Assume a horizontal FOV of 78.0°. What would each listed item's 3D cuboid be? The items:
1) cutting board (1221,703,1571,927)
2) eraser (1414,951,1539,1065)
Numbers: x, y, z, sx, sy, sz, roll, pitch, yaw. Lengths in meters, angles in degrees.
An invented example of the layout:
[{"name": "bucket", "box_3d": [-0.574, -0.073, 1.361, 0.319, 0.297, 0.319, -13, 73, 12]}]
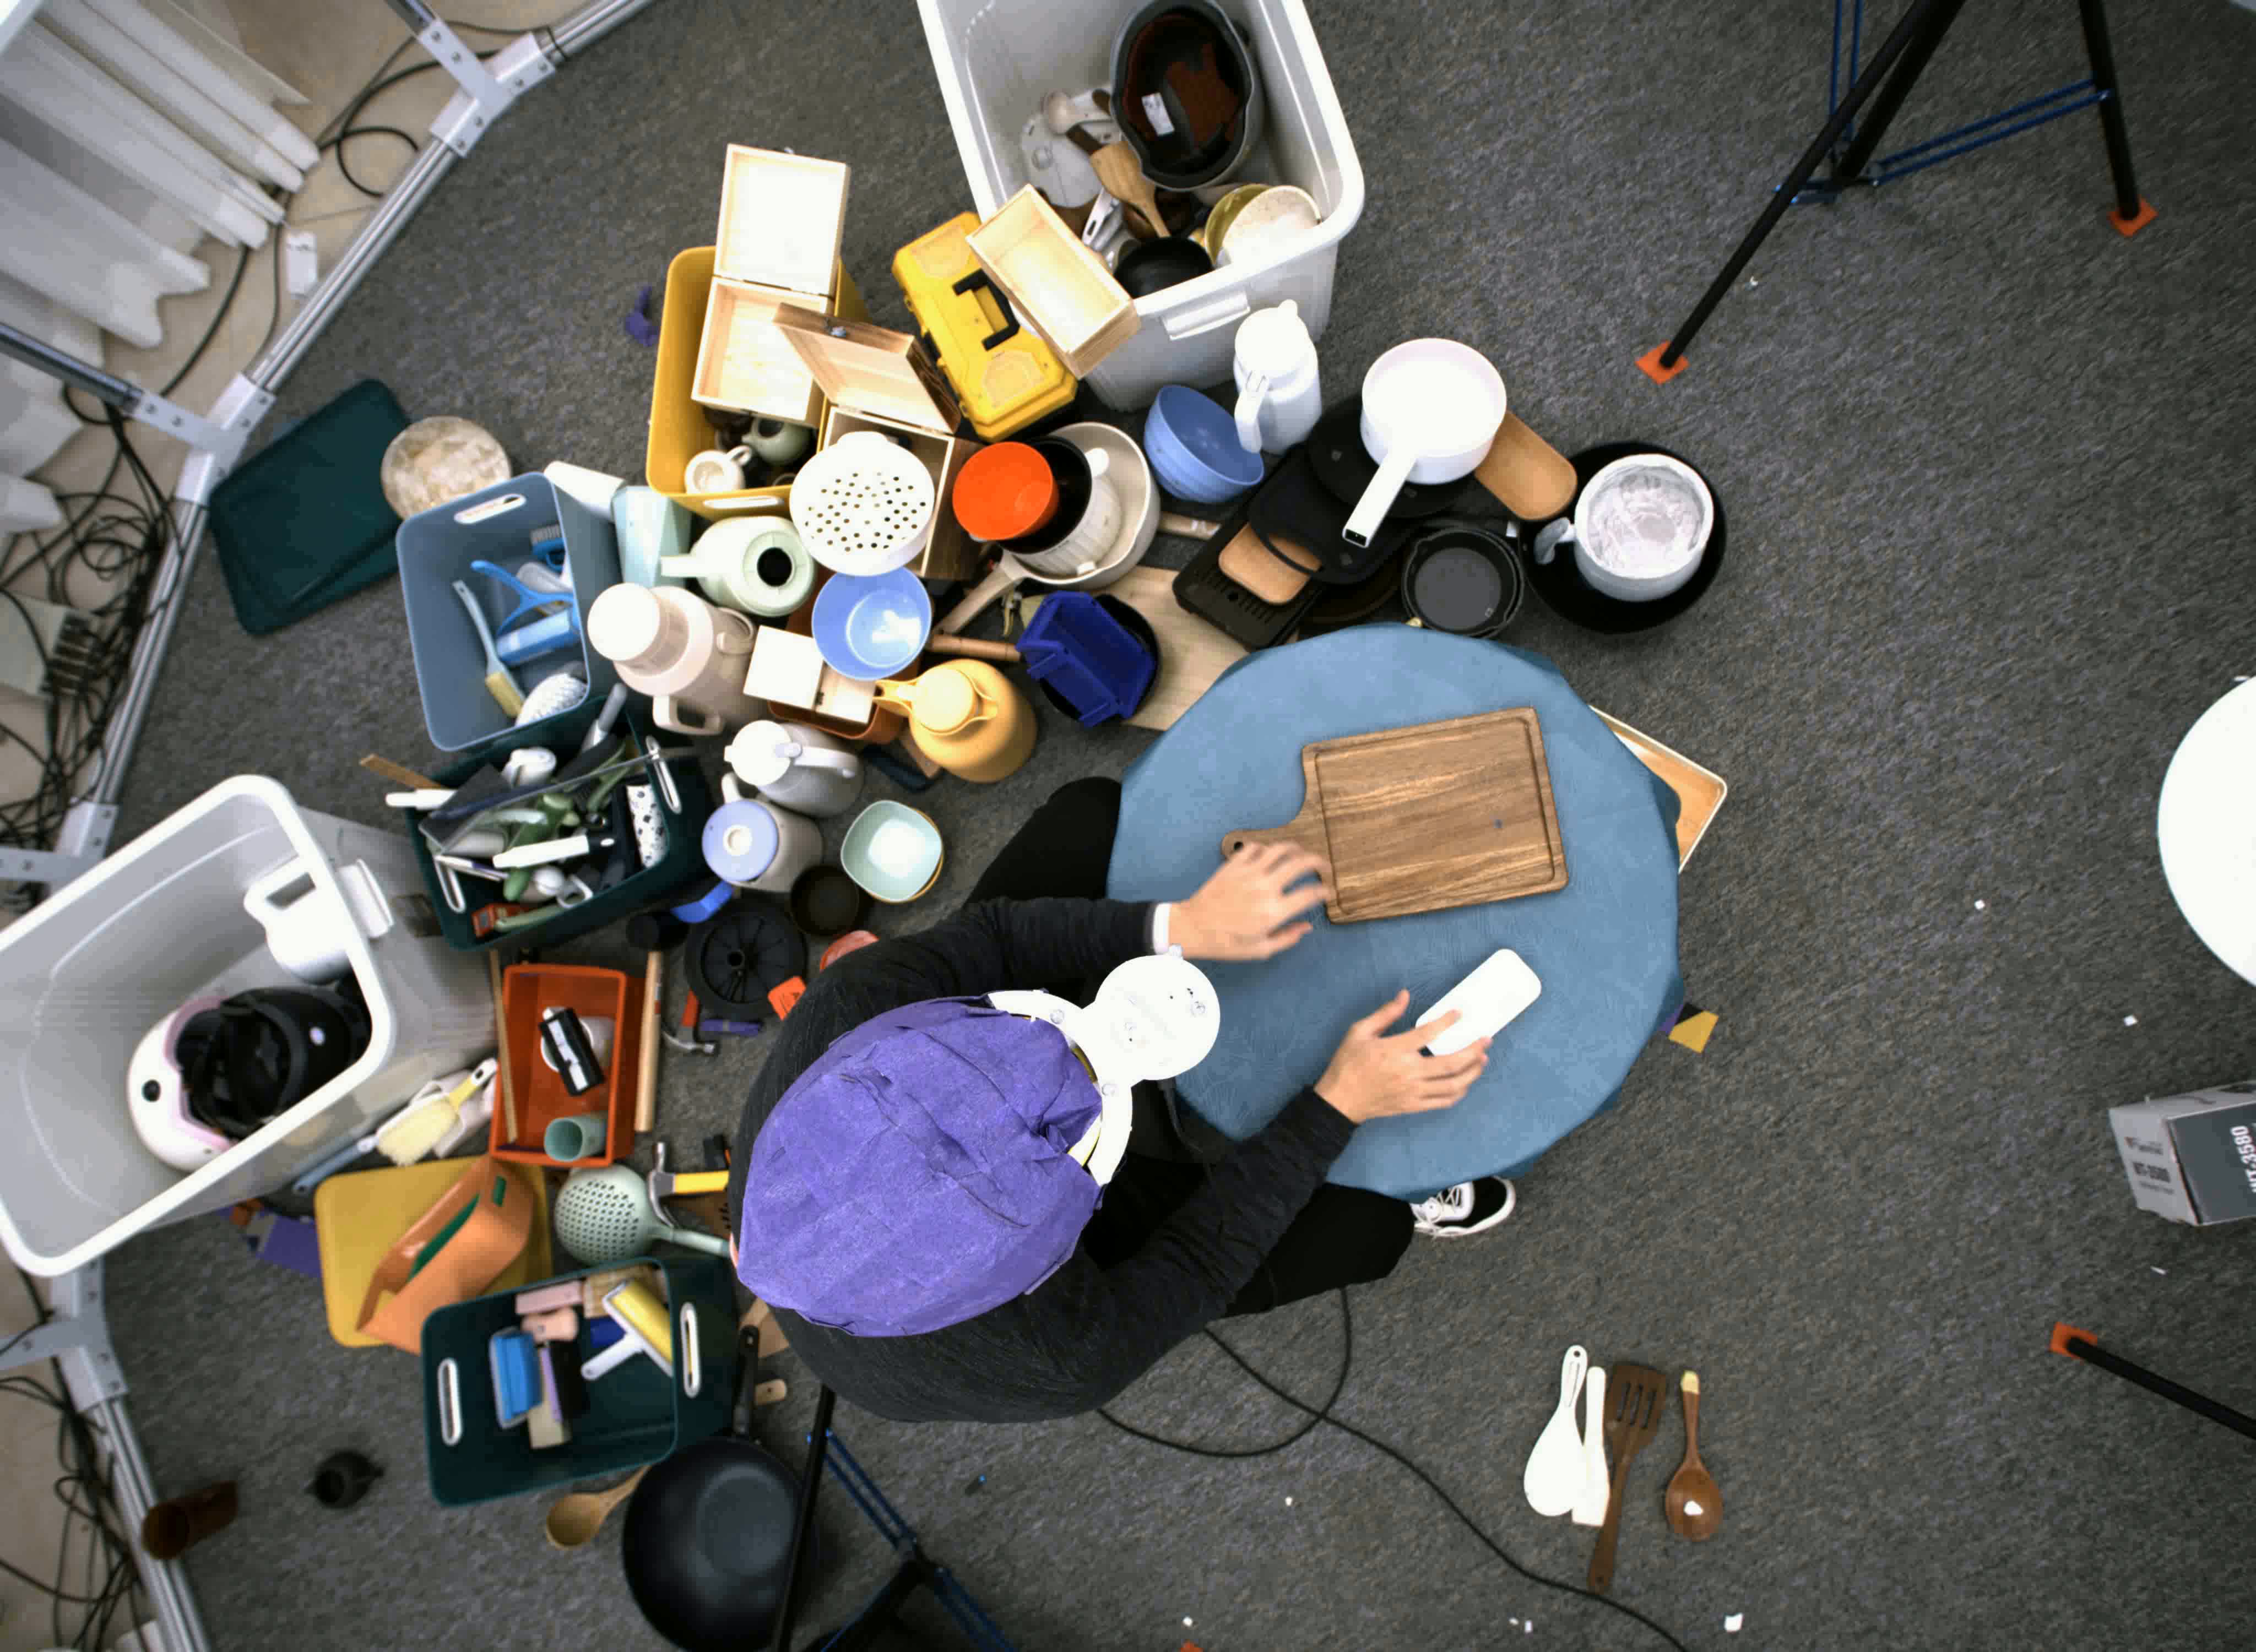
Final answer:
[{"name": "cutting board", "box_3d": [0.271, -0.004, 1.453, 0.354, 0.023, 0.200, -10, 85, 10]}, {"name": "eraser", "box_3d": [0.358, 0.184, 1.422, 0.132, 0.034, 0.063, -40, 82, 5]}]
